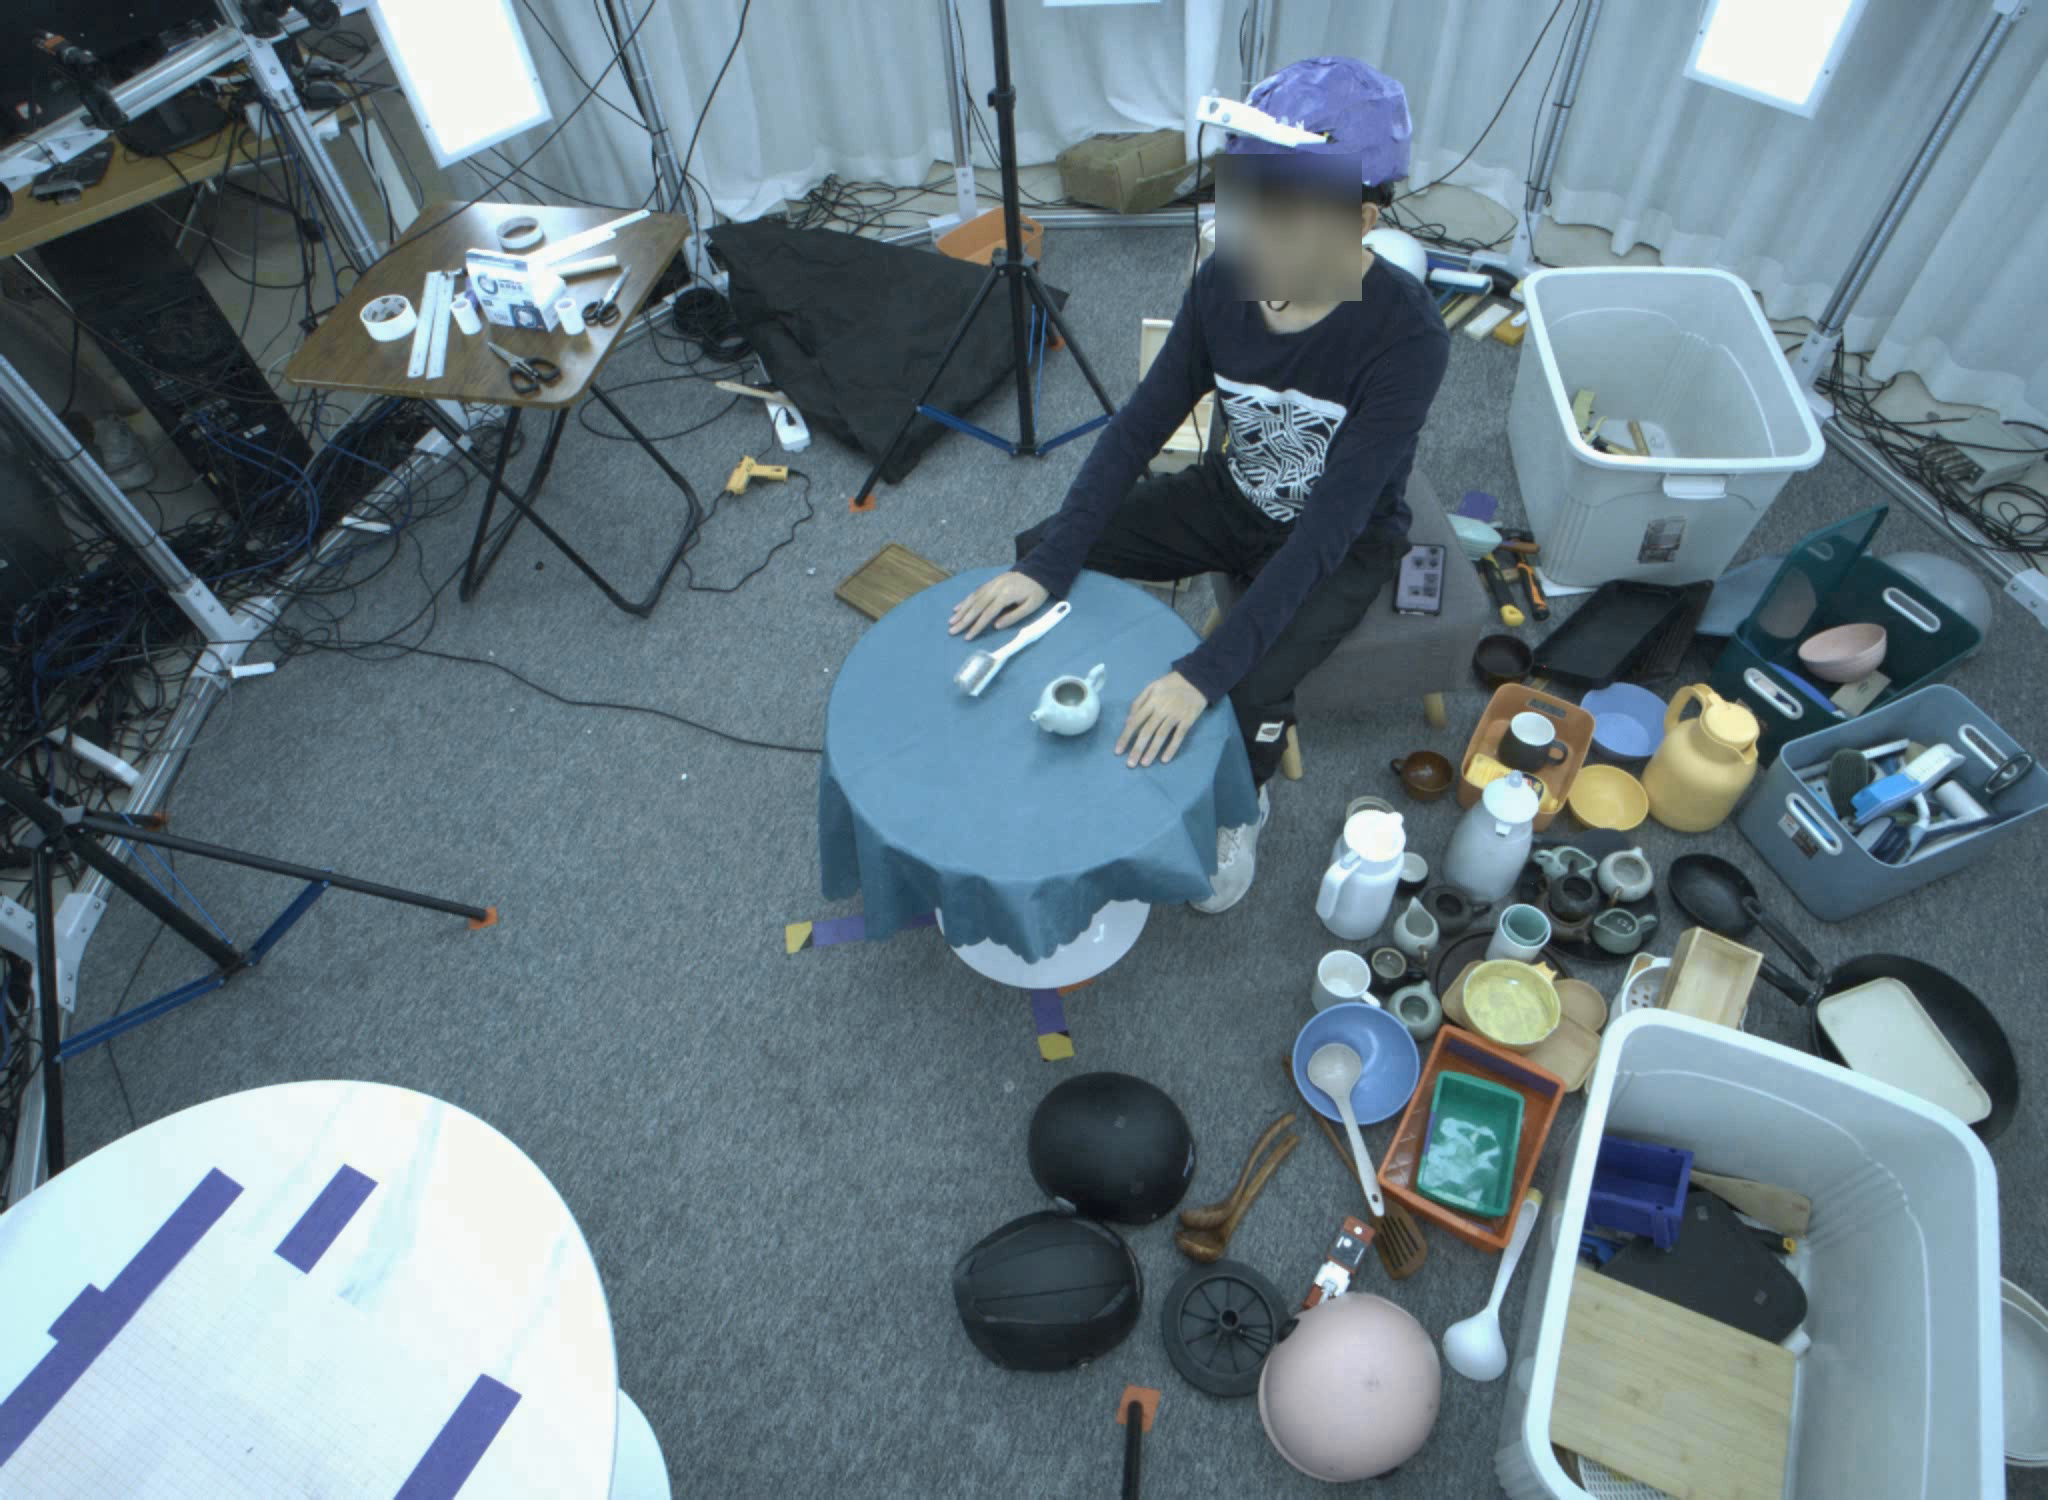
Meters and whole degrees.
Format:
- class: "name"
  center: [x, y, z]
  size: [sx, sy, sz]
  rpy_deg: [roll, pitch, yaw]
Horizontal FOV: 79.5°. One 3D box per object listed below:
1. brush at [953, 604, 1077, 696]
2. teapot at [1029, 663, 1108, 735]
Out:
- class: "brush"
  center: [-0.010, -0.166, 1.869]
  size: [0.245, 0.051, 0.034]
  rpy_deg: [-40, 56, -23]
- class: "teapot"
  center: [0.067, -0.065, 1.780]
  size: [0.145, 0.075, 0.086]
  rpy_deg: [-35, 59, -19]
